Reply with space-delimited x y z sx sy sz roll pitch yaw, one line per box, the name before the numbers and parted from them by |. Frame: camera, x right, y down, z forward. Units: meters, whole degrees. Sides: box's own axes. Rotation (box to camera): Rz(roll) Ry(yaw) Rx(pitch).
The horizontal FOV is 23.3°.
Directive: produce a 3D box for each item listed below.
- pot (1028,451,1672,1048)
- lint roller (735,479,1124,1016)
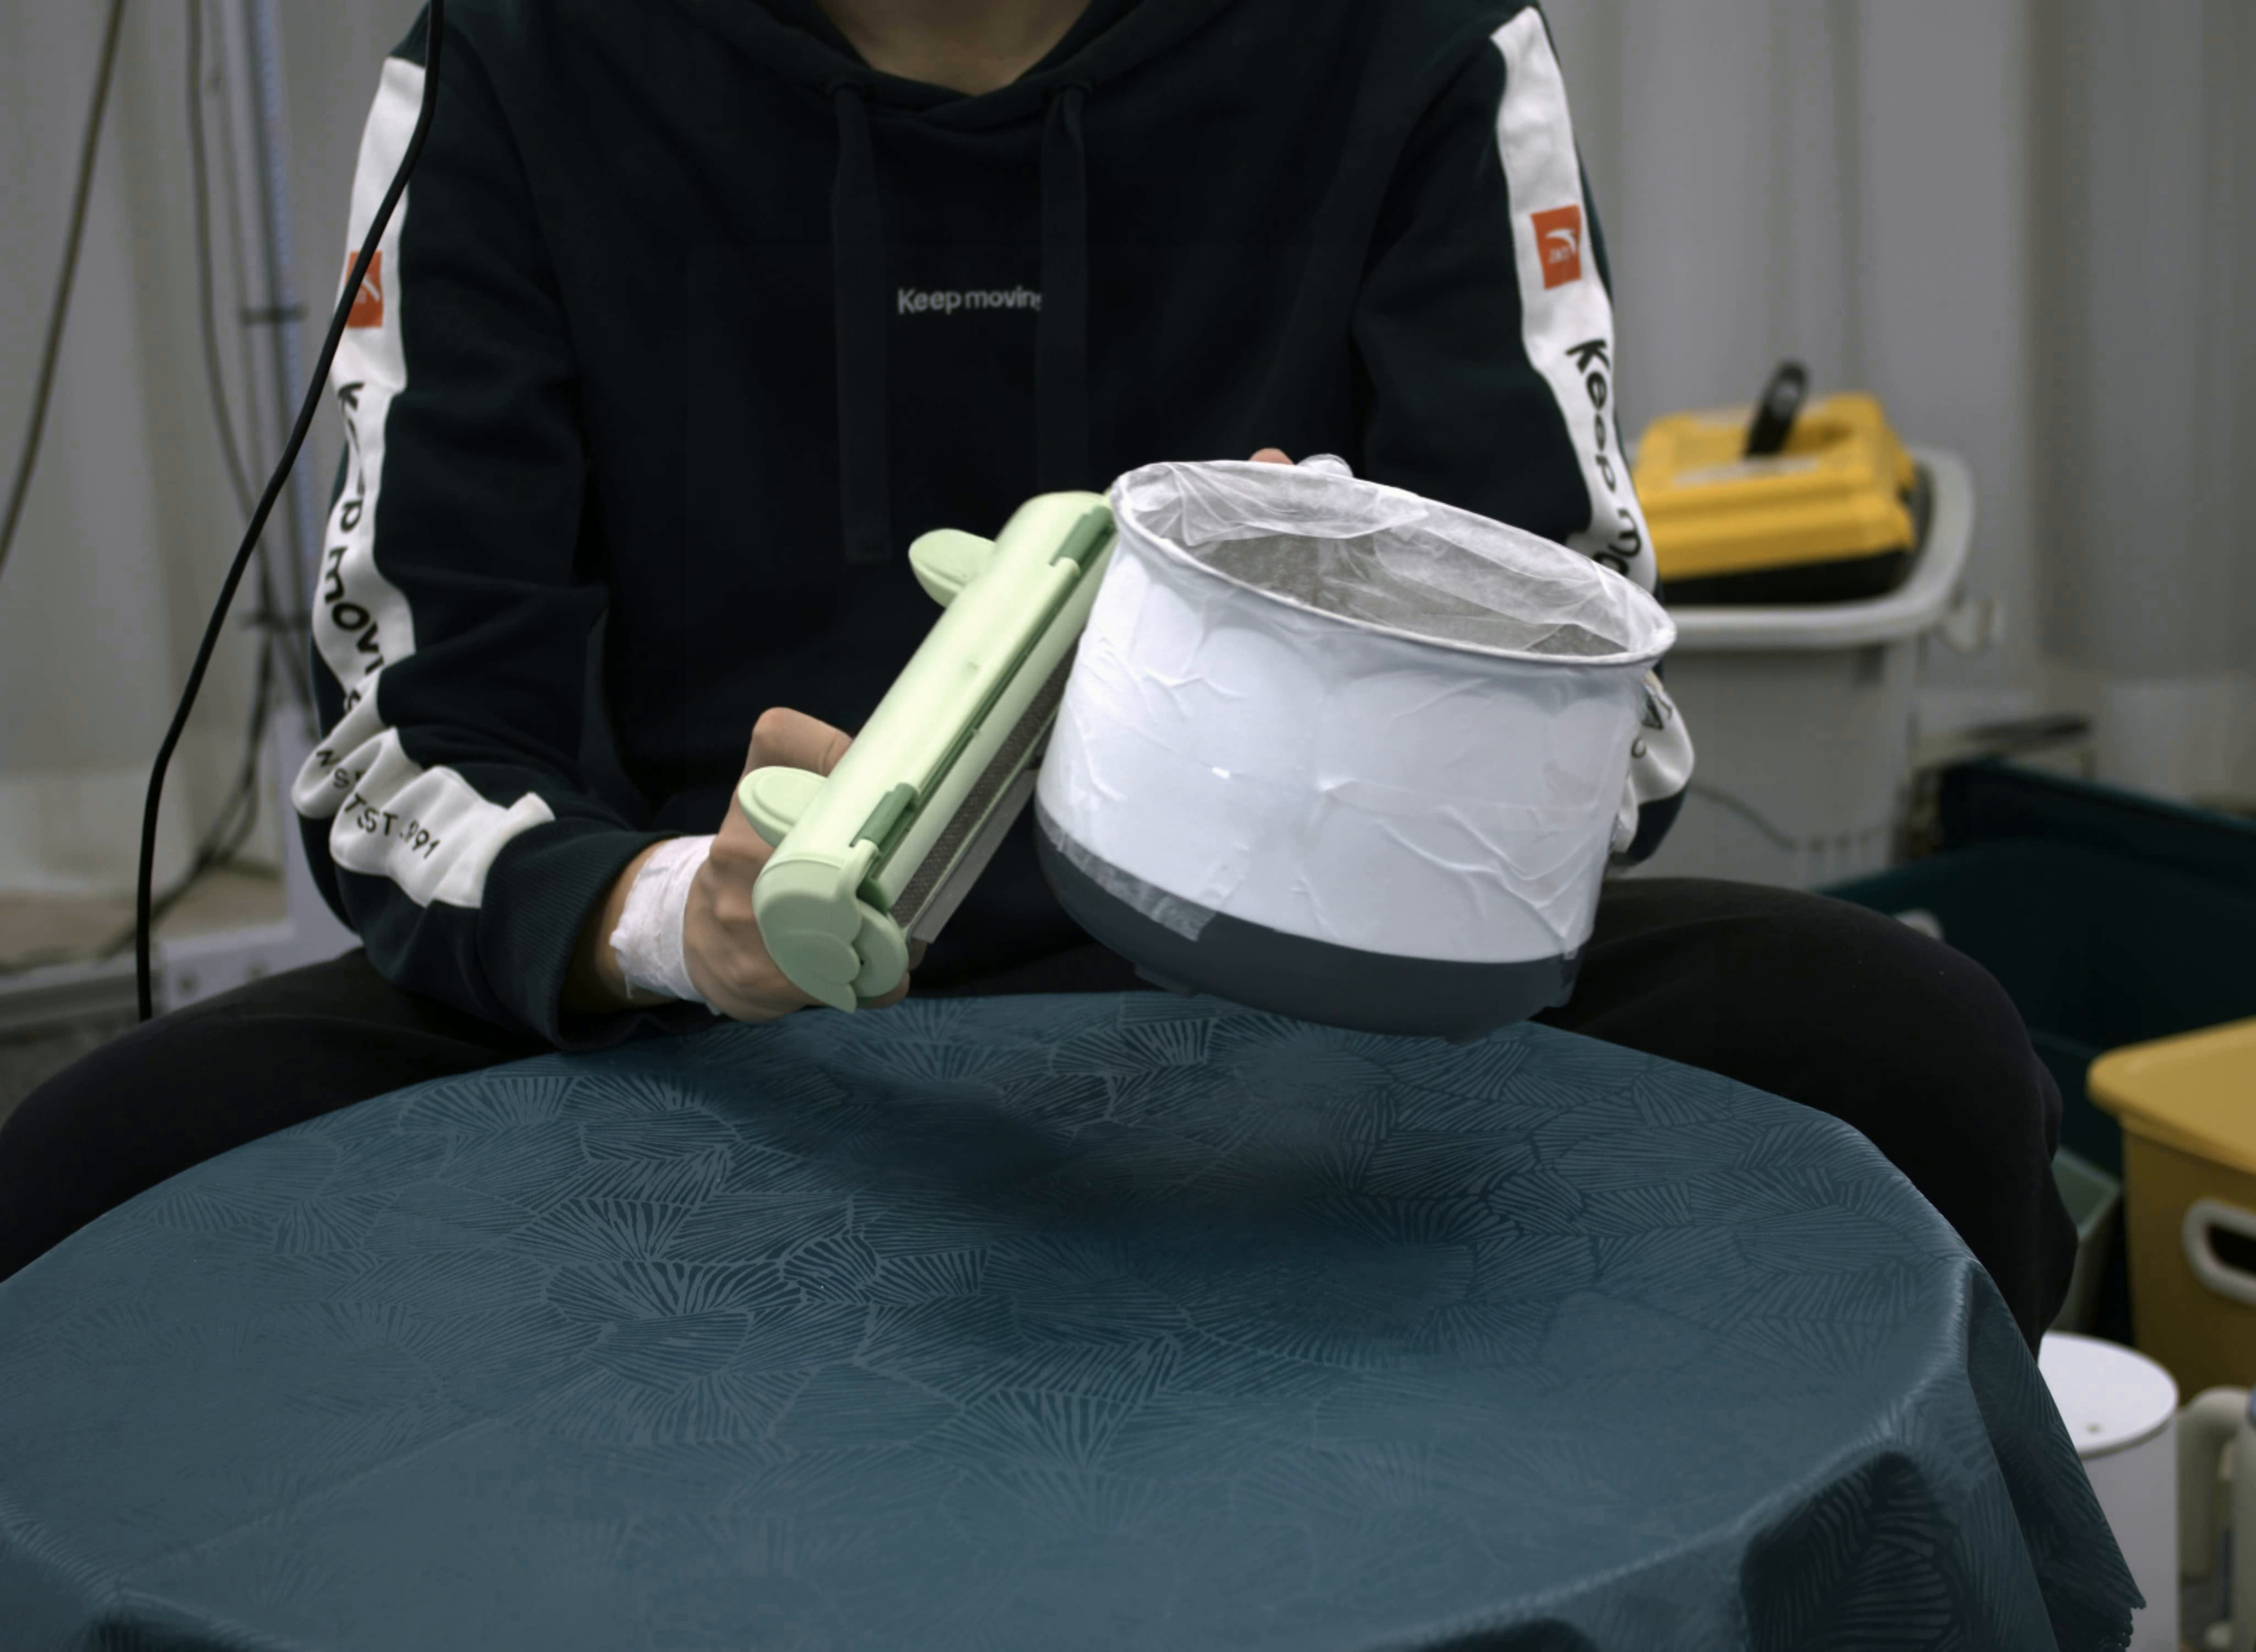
pot | 0.059 -0.032 1.697 0.177 0.136 0.236 11 18 -13
lint roller | -0.086 -0.010 1.743 0.182 0.082 0.200 -38 16 49
